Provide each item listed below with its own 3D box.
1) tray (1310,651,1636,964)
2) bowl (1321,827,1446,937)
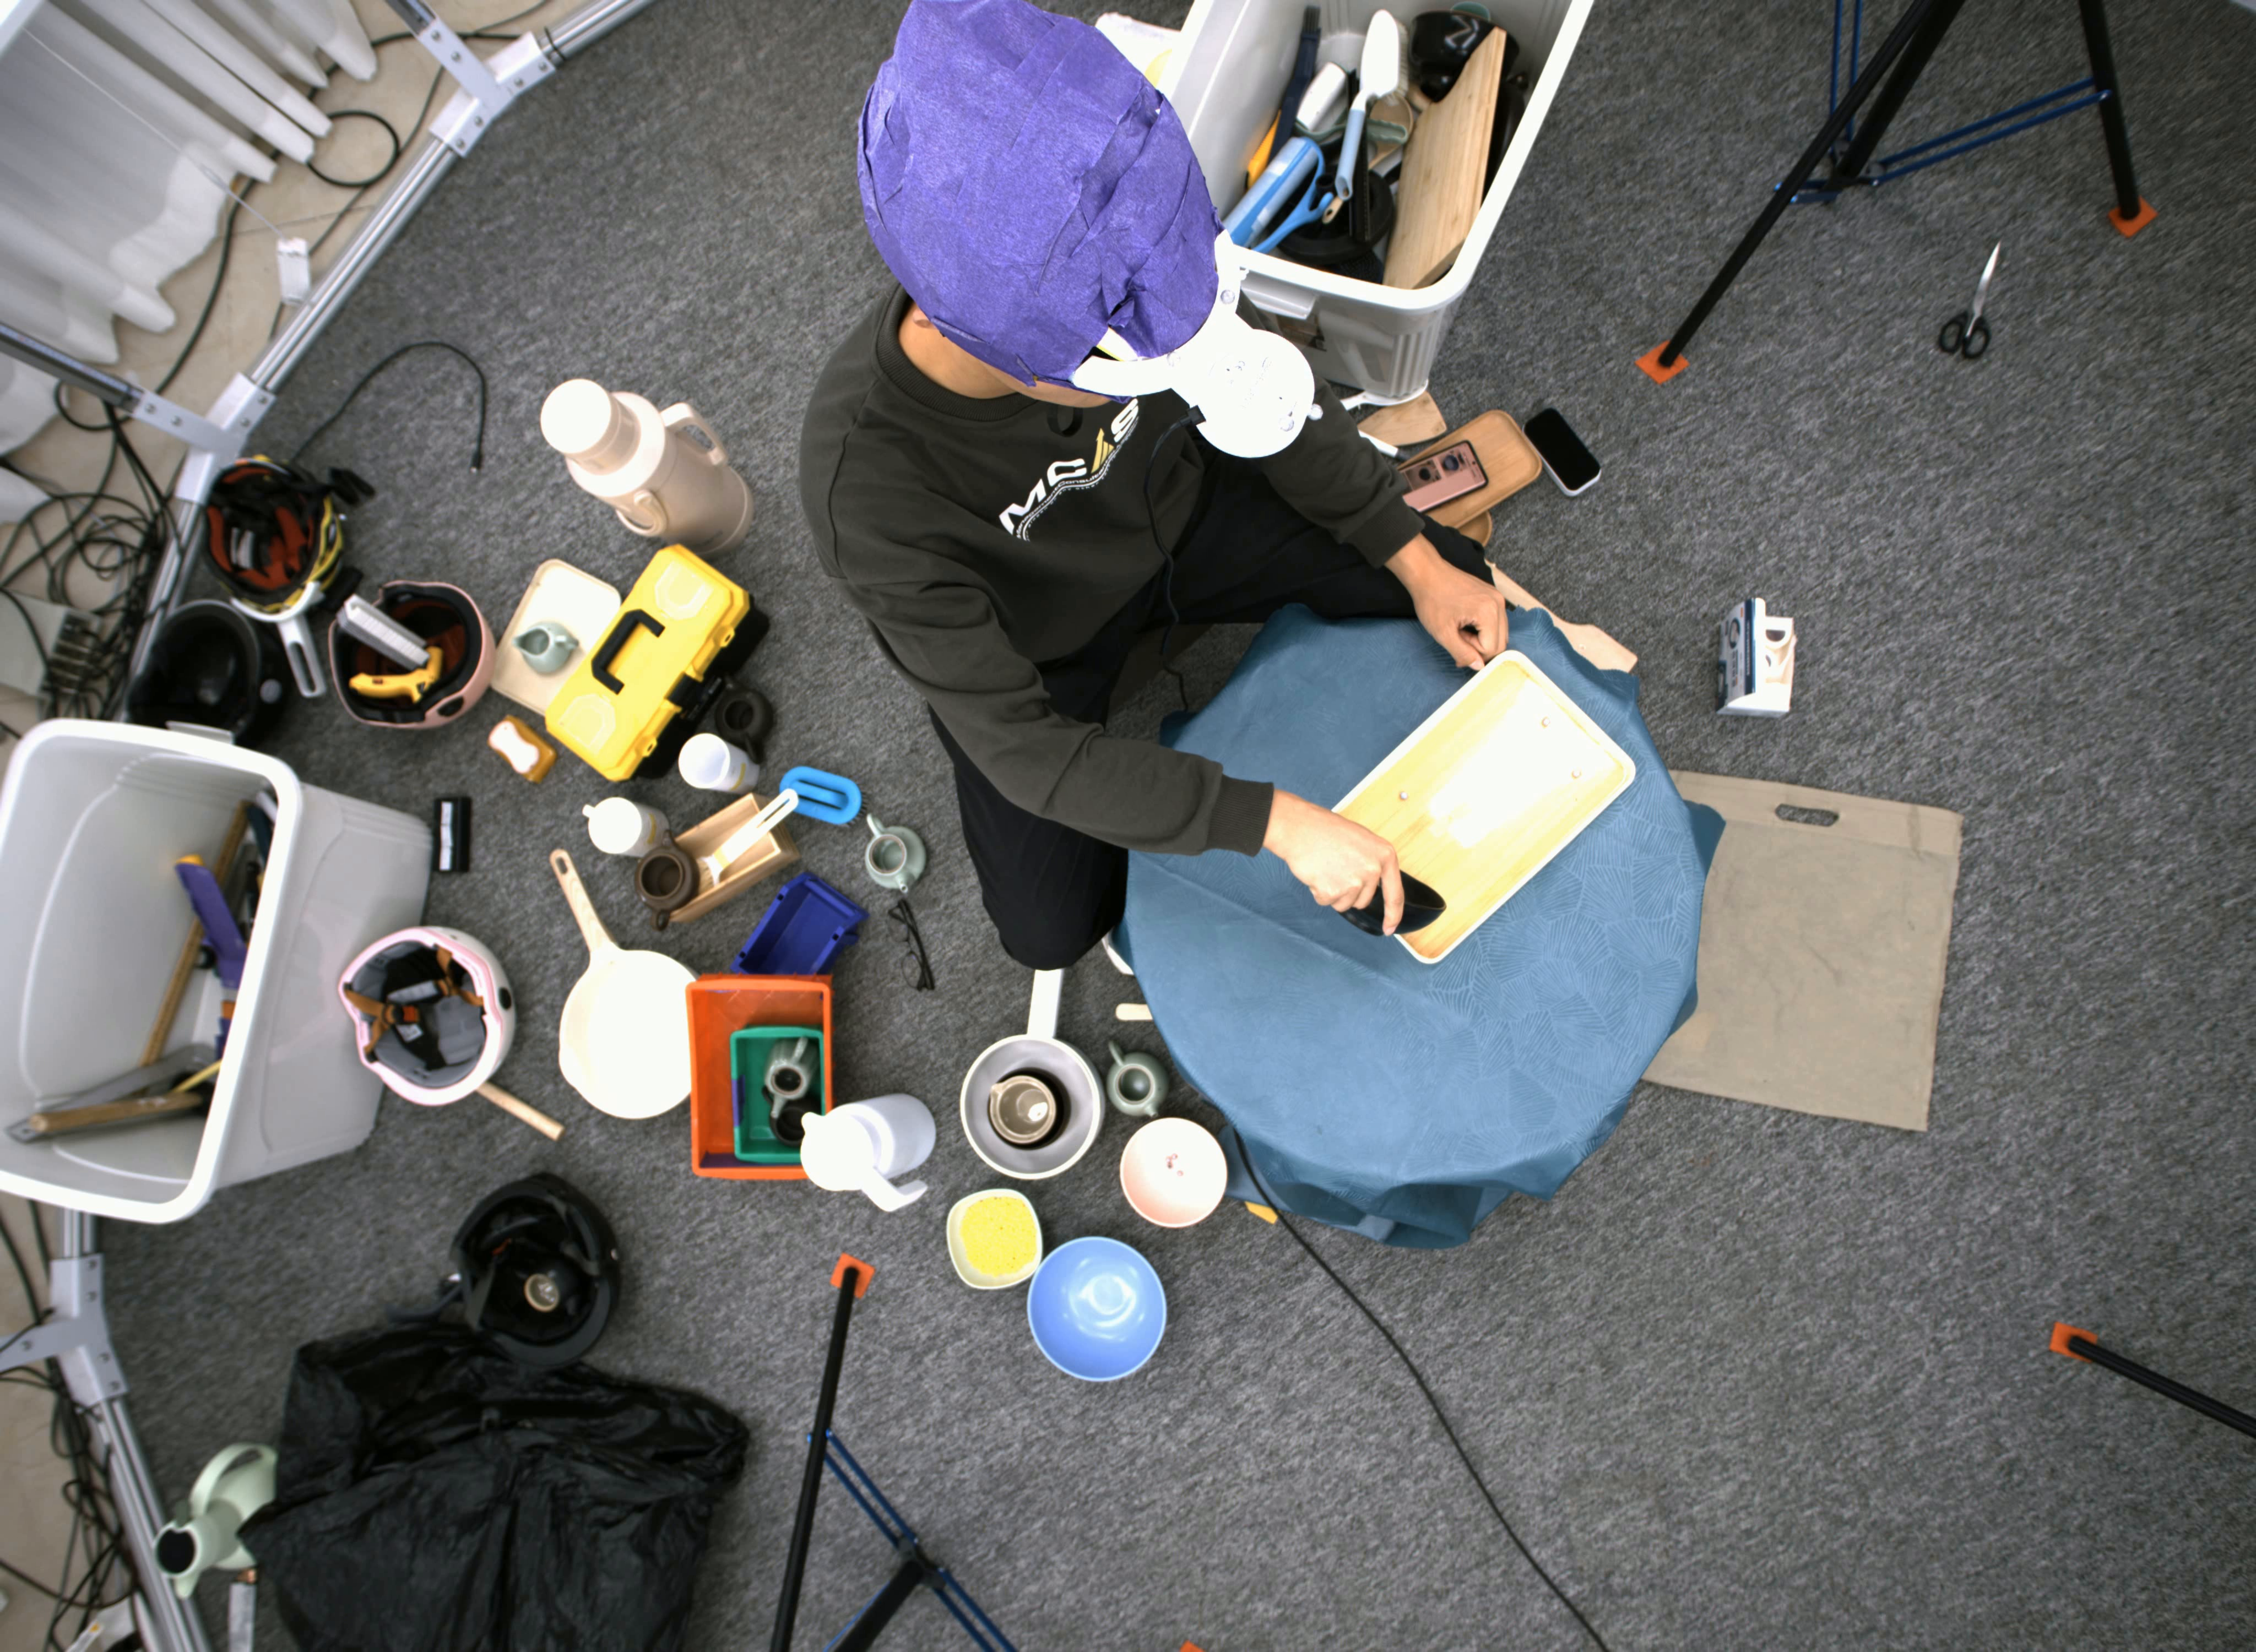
[{"bbox_3d":[0.357,-0.021,1.435,0.301,0.027,0.190,-44,80,6],"label":"tray"},{"bbox_3d":[0.242,0.063,1.374,0.137,0.168,0.067,37,103,7],"label":"bowl"}]
